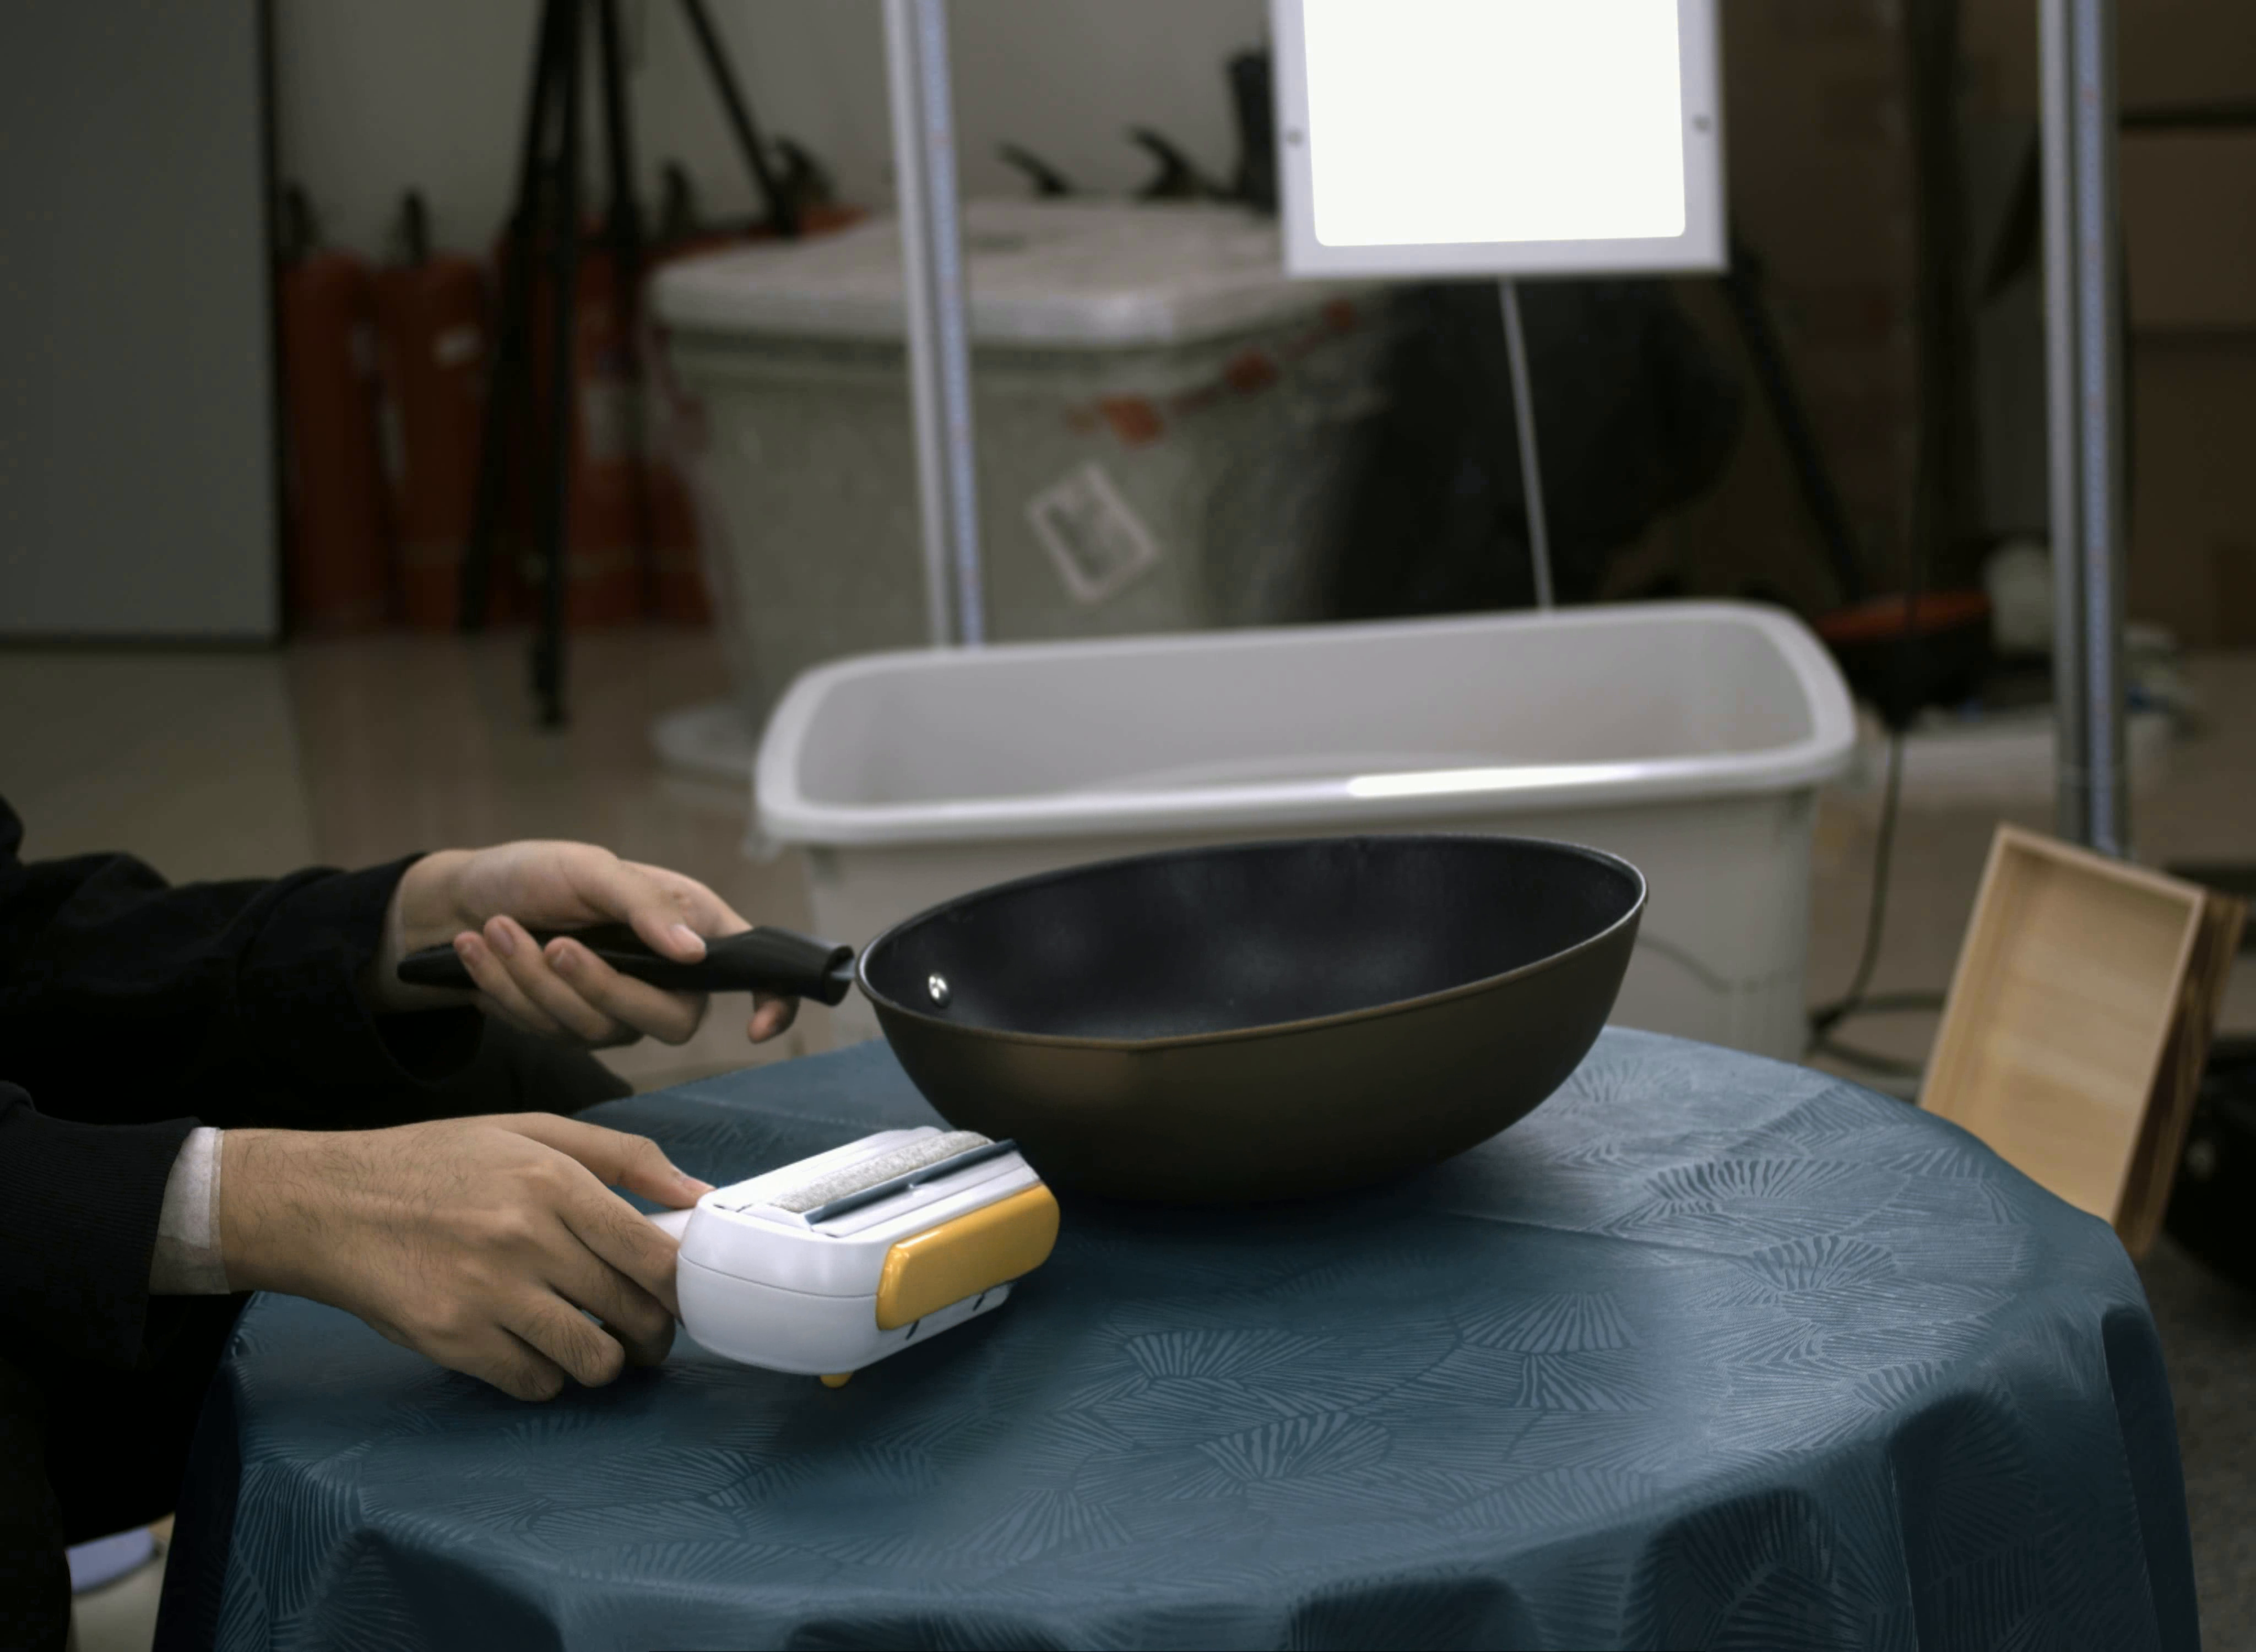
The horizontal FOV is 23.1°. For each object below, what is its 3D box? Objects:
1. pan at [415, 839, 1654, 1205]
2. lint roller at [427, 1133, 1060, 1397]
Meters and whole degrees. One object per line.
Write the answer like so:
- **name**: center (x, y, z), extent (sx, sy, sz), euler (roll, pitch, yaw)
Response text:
- **pan**: center (-0.039, 0.075, 1.945), extent (0.469, 0.087, 0.283), euler (-3, 12, 21)
- **lint roller**: center (-0.136, 0.136, 1.749), extent (0.195, 0.074, 0.189), euler (4, 11, 25)
